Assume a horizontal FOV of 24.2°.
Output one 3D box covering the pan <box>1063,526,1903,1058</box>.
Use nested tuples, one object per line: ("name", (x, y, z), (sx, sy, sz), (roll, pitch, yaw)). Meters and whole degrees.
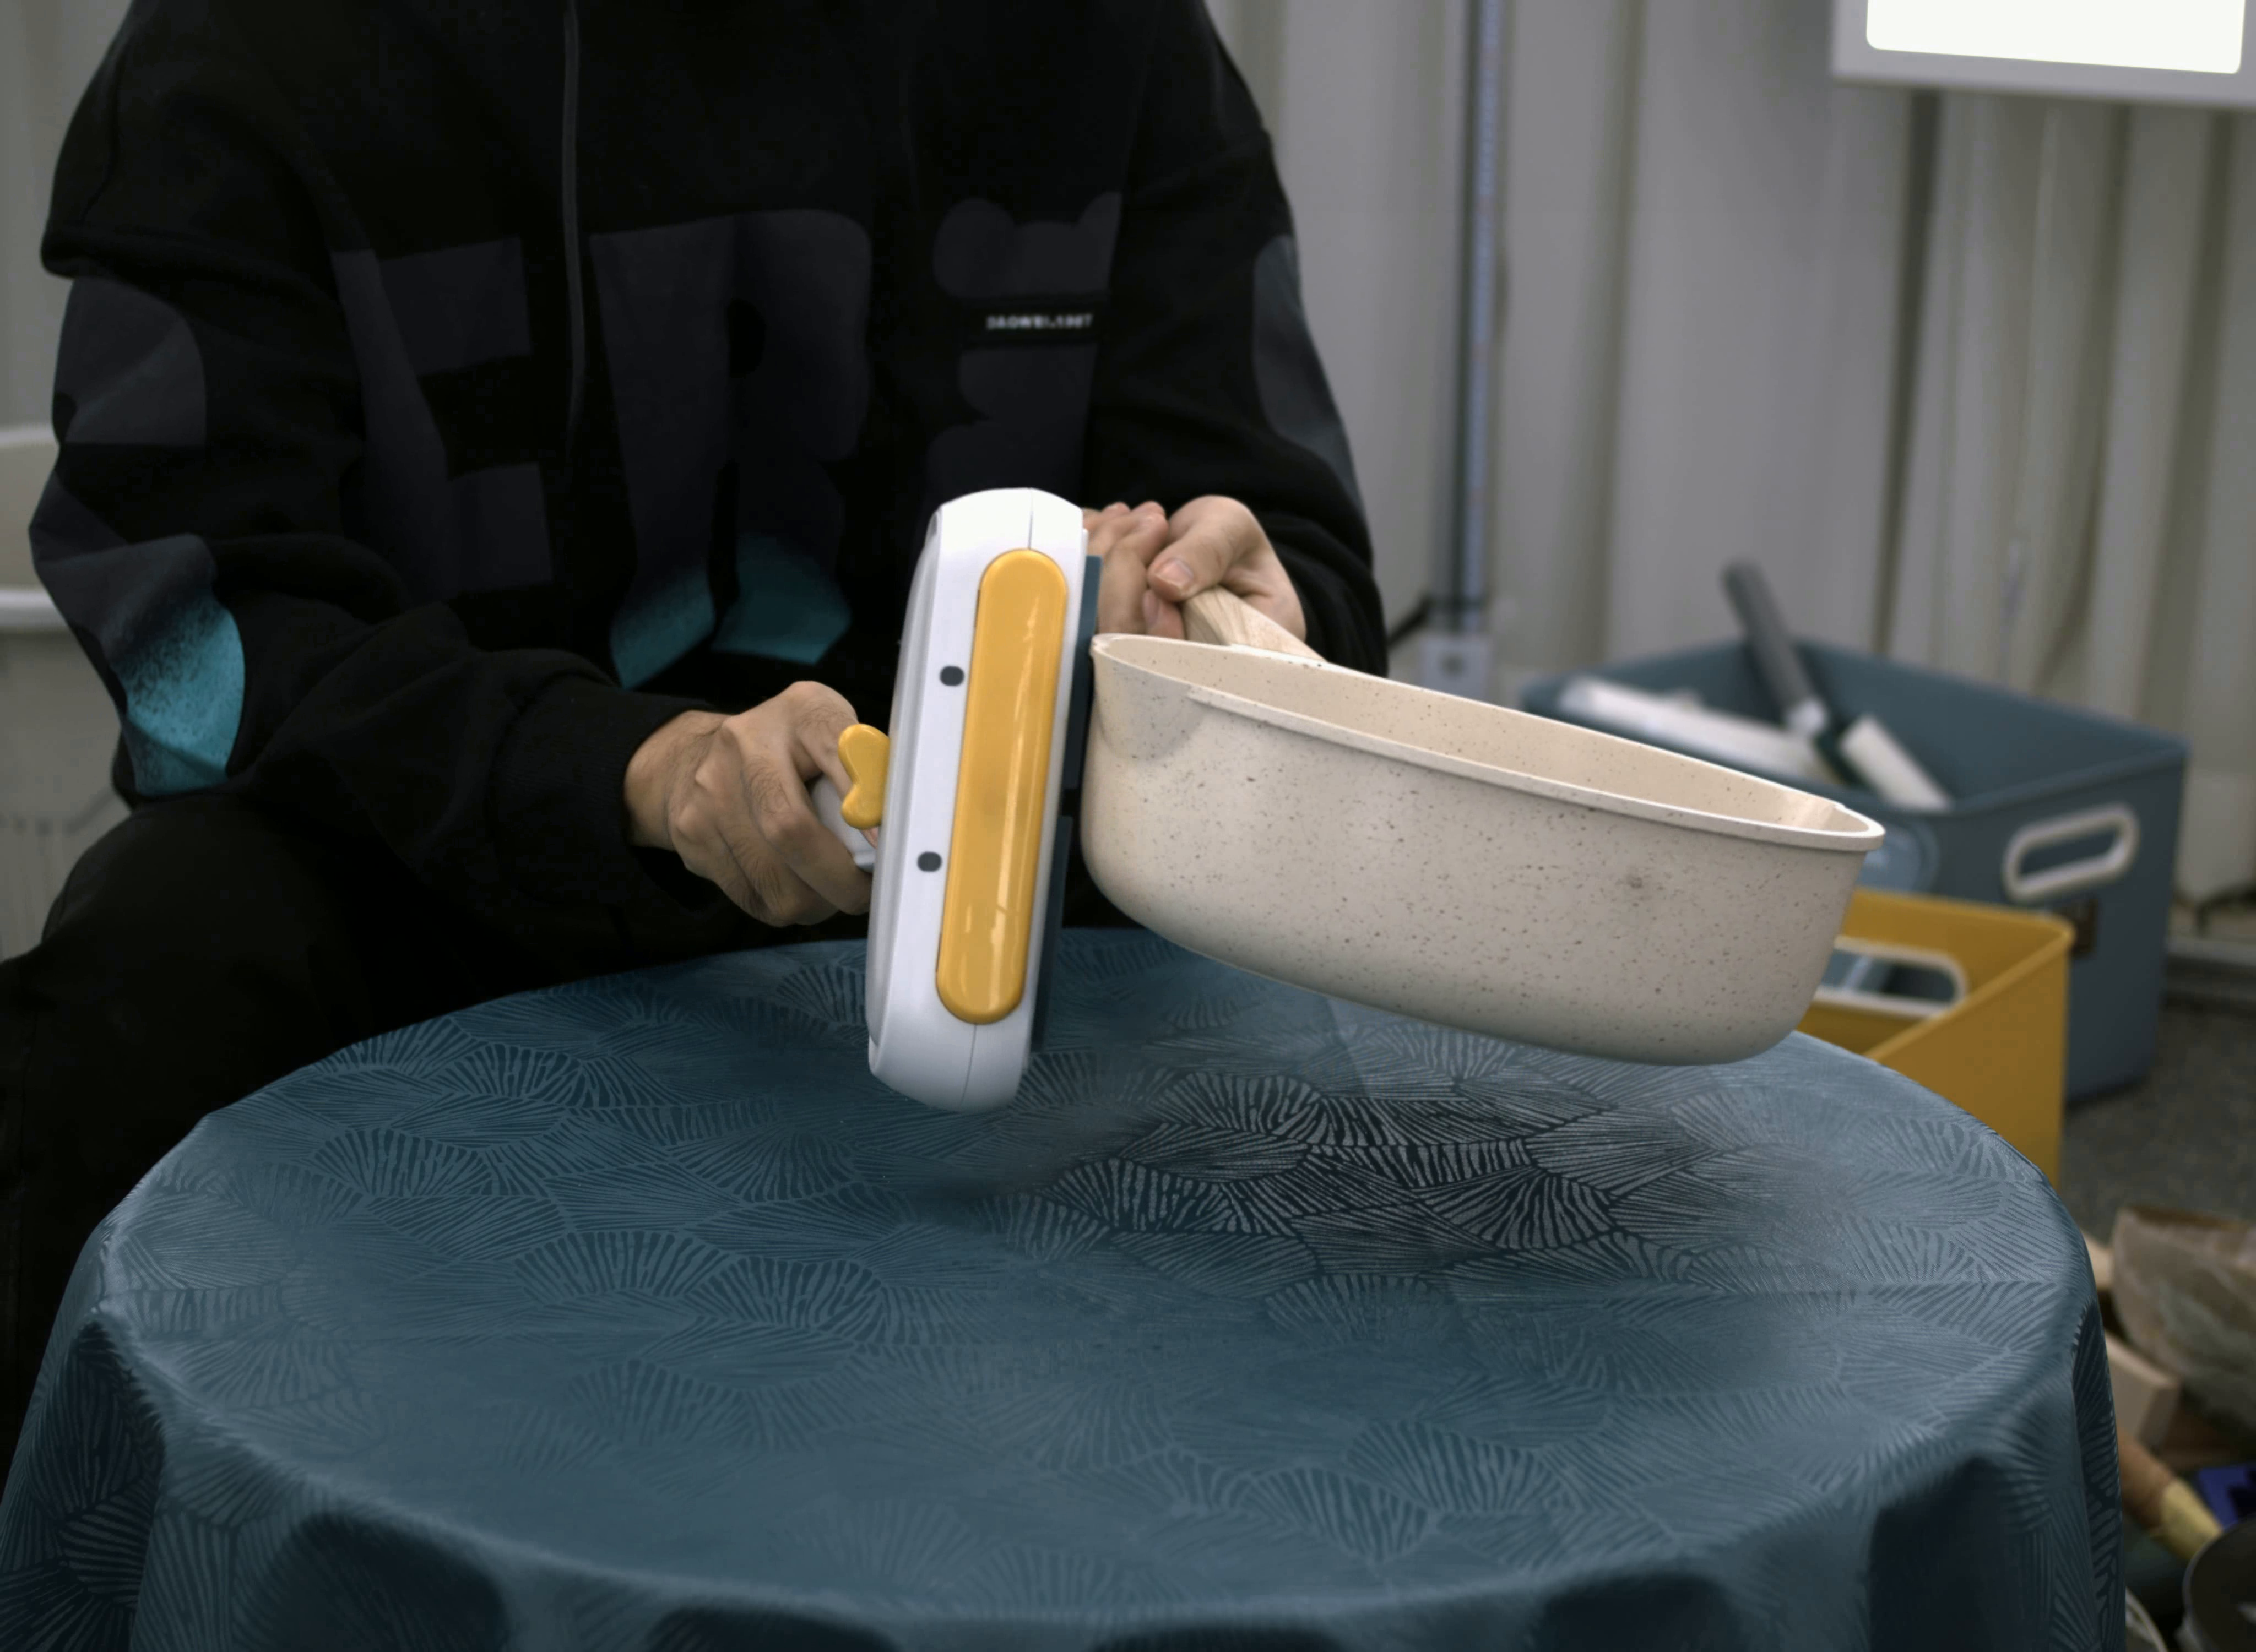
("pan", (0.068, -0.016, 1.699), (0.265, 0.102, 0.430), (8, 8, -28))

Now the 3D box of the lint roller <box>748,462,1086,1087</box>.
("lint roller", (-0.070, -0.007, 1.665), (0.074, 0.193, 0.192), (4, -11, -17))
